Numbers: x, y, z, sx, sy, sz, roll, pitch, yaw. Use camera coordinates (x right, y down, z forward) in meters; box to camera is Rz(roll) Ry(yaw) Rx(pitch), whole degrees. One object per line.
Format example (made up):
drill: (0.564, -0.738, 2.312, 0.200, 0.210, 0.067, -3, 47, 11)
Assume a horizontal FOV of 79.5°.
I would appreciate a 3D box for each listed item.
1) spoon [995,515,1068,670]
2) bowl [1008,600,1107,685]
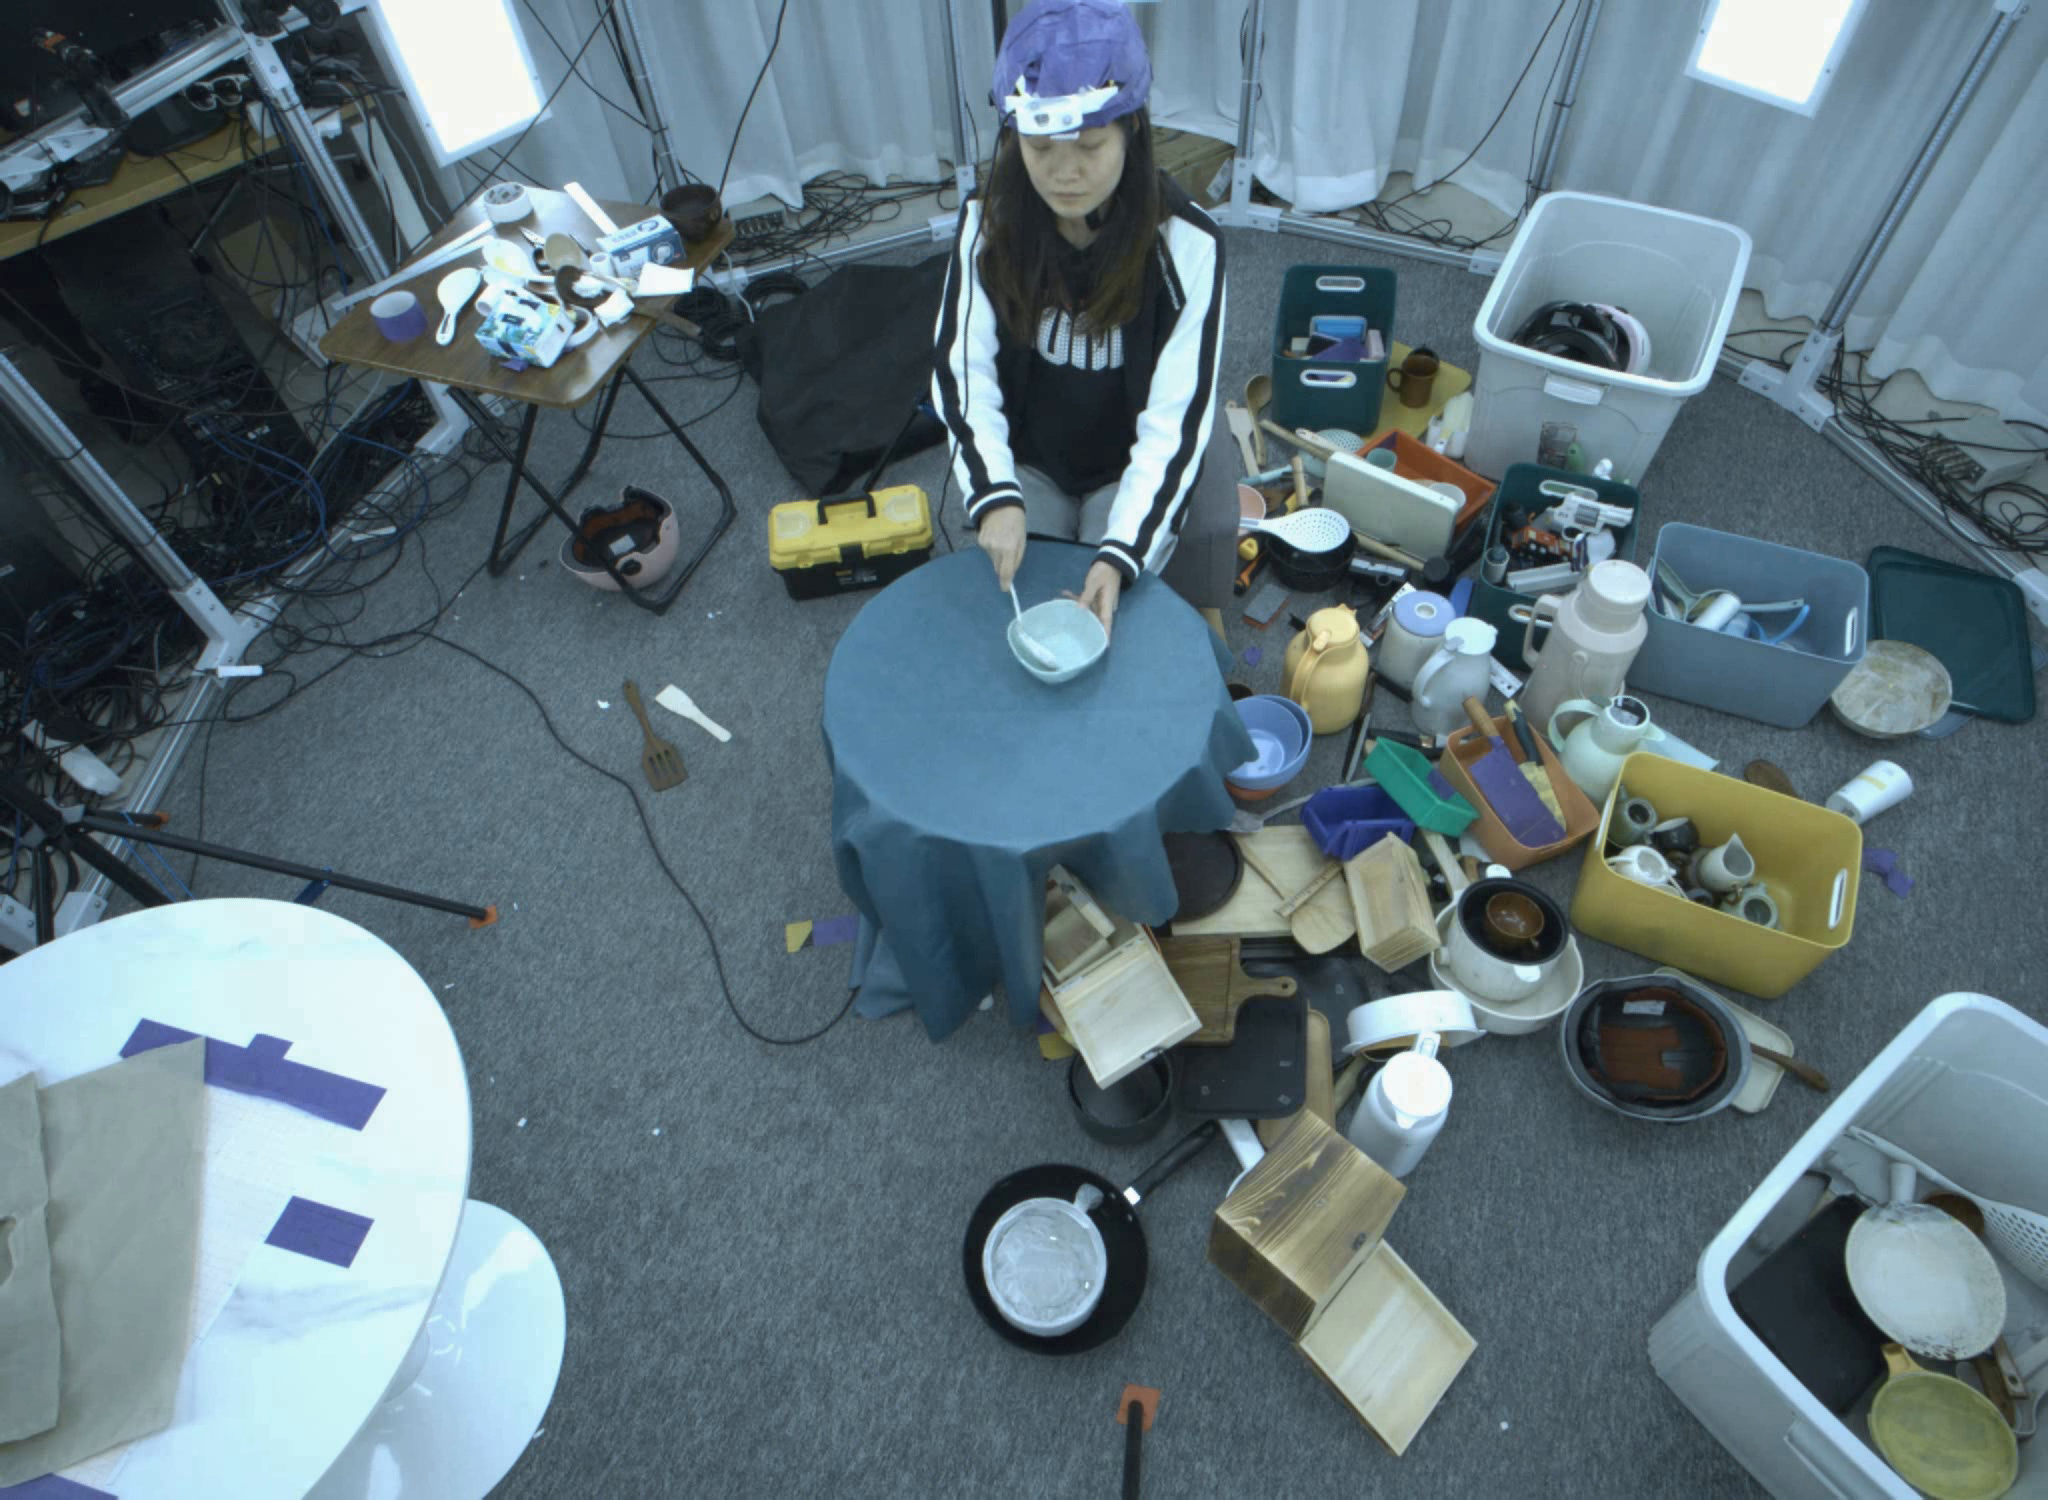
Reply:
spoon: (0.010, -0.242, 1.863, 0.059, 0.102, 0.275, -16, 73, 13)
bowl: (0.051, -0.154, 1.863, 0.151, 0.059, 0.150, 0, 54, 2)
